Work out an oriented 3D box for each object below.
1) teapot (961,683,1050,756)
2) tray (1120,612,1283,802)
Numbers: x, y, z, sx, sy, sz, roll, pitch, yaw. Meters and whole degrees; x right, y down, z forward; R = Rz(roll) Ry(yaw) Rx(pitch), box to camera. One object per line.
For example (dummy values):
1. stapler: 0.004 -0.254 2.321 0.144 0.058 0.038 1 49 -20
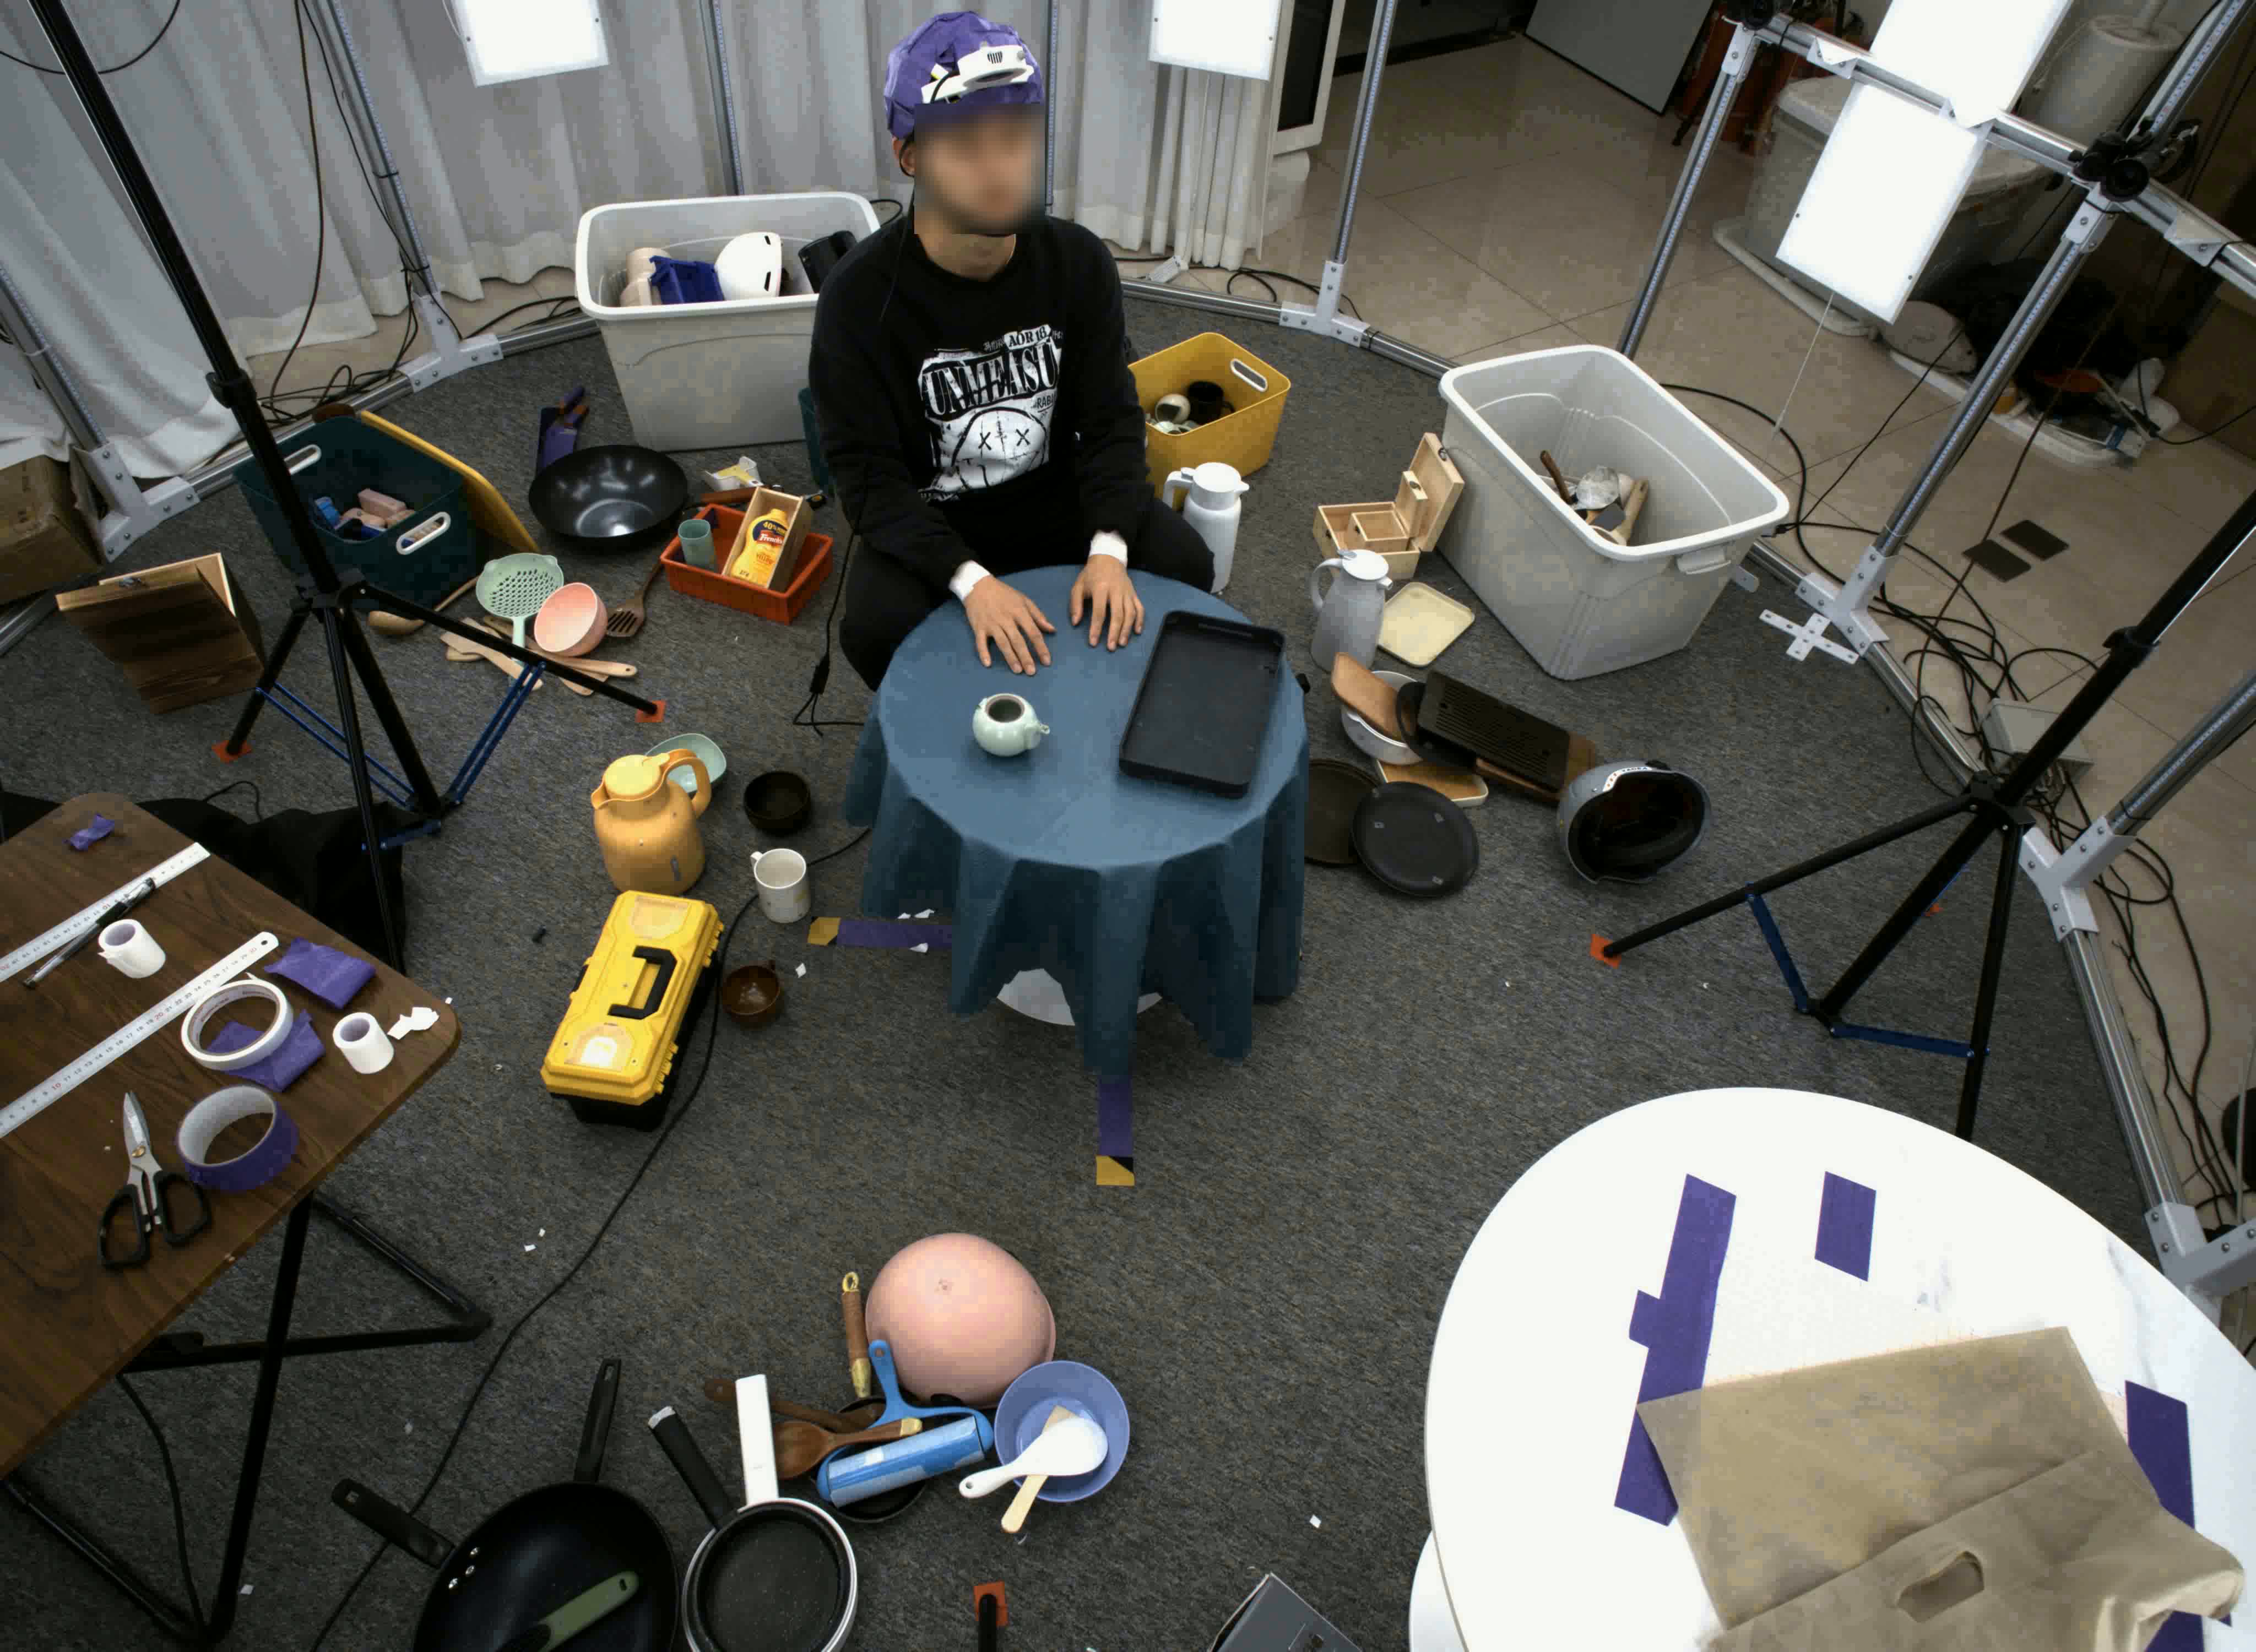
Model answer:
1. teapot: -0.165 -0.138 1.732 0.145 0.073 0.089 31 54 20
2. tray: 0.106 -0.173 1.803 0.184 0.036 0.325 11 49 6
